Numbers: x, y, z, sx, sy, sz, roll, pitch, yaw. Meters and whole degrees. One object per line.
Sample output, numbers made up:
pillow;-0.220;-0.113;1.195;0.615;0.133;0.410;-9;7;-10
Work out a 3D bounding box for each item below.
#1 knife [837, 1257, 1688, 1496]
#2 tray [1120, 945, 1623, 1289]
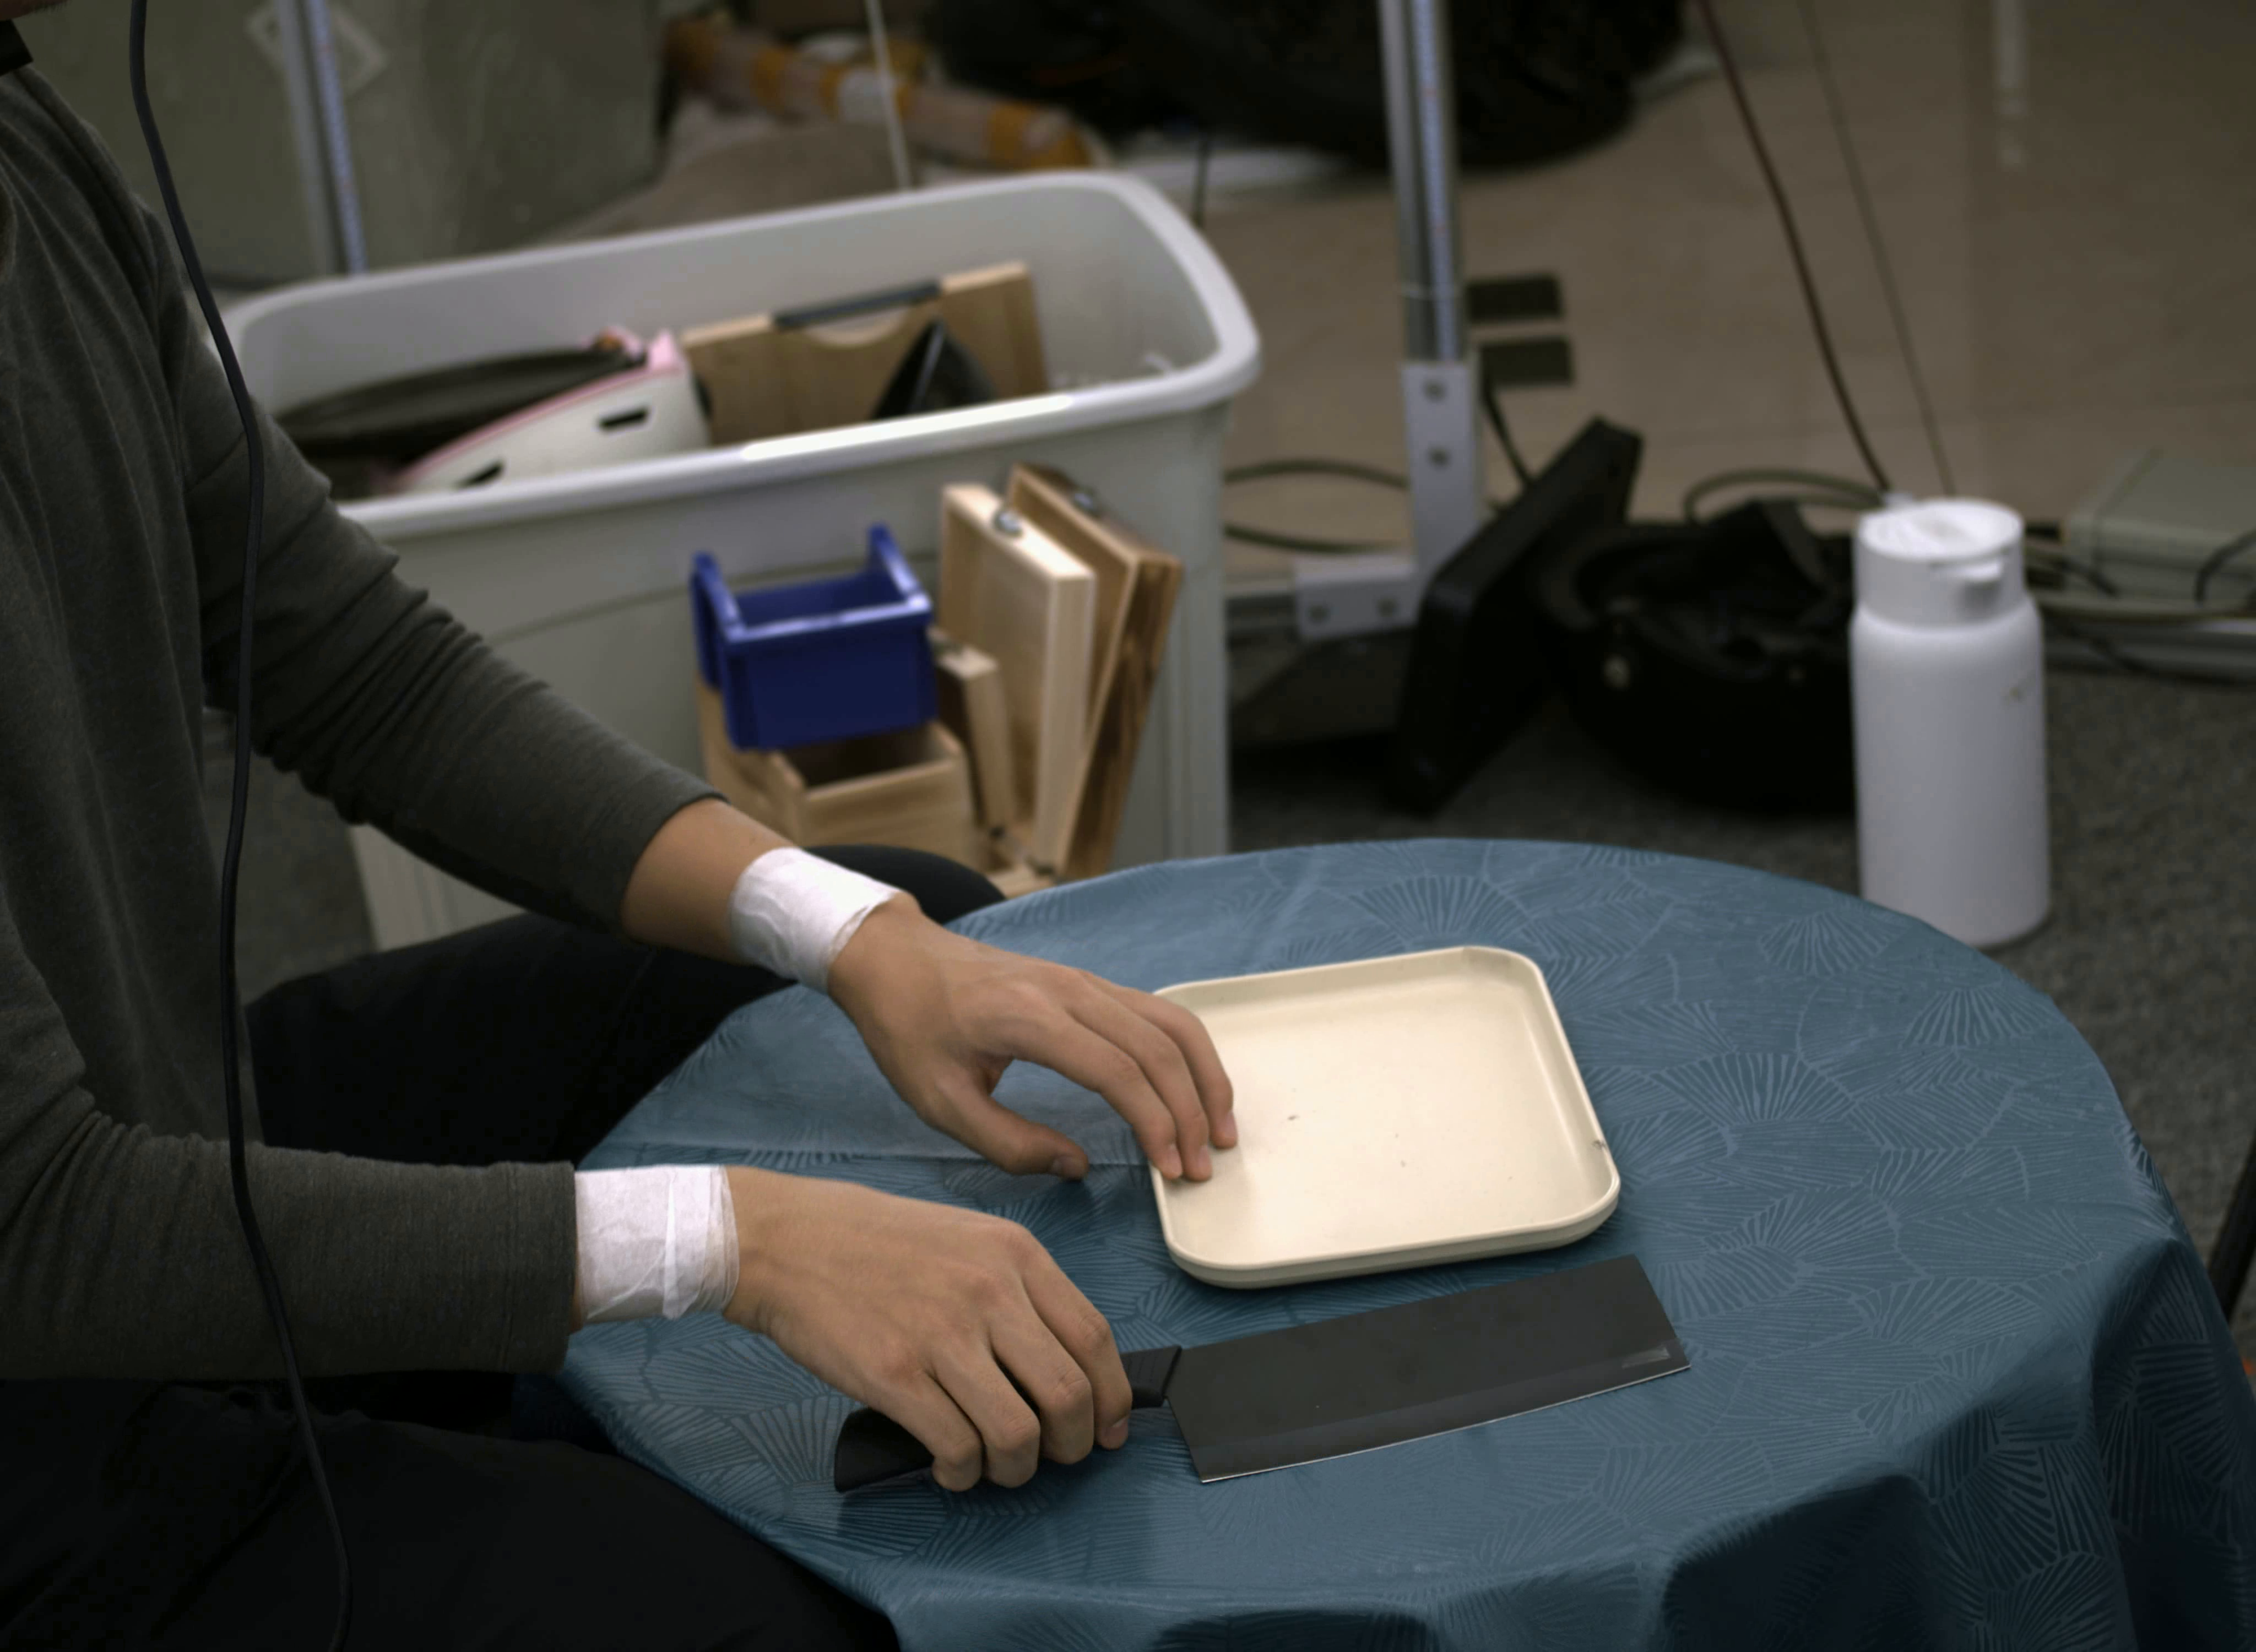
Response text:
knife;0.046;0.199;1.989;0.301;0.021;0.079;-9;37;-7
tray;0.090;0.110;2.170;0.171;0.018;0.236;-8;25;-2
